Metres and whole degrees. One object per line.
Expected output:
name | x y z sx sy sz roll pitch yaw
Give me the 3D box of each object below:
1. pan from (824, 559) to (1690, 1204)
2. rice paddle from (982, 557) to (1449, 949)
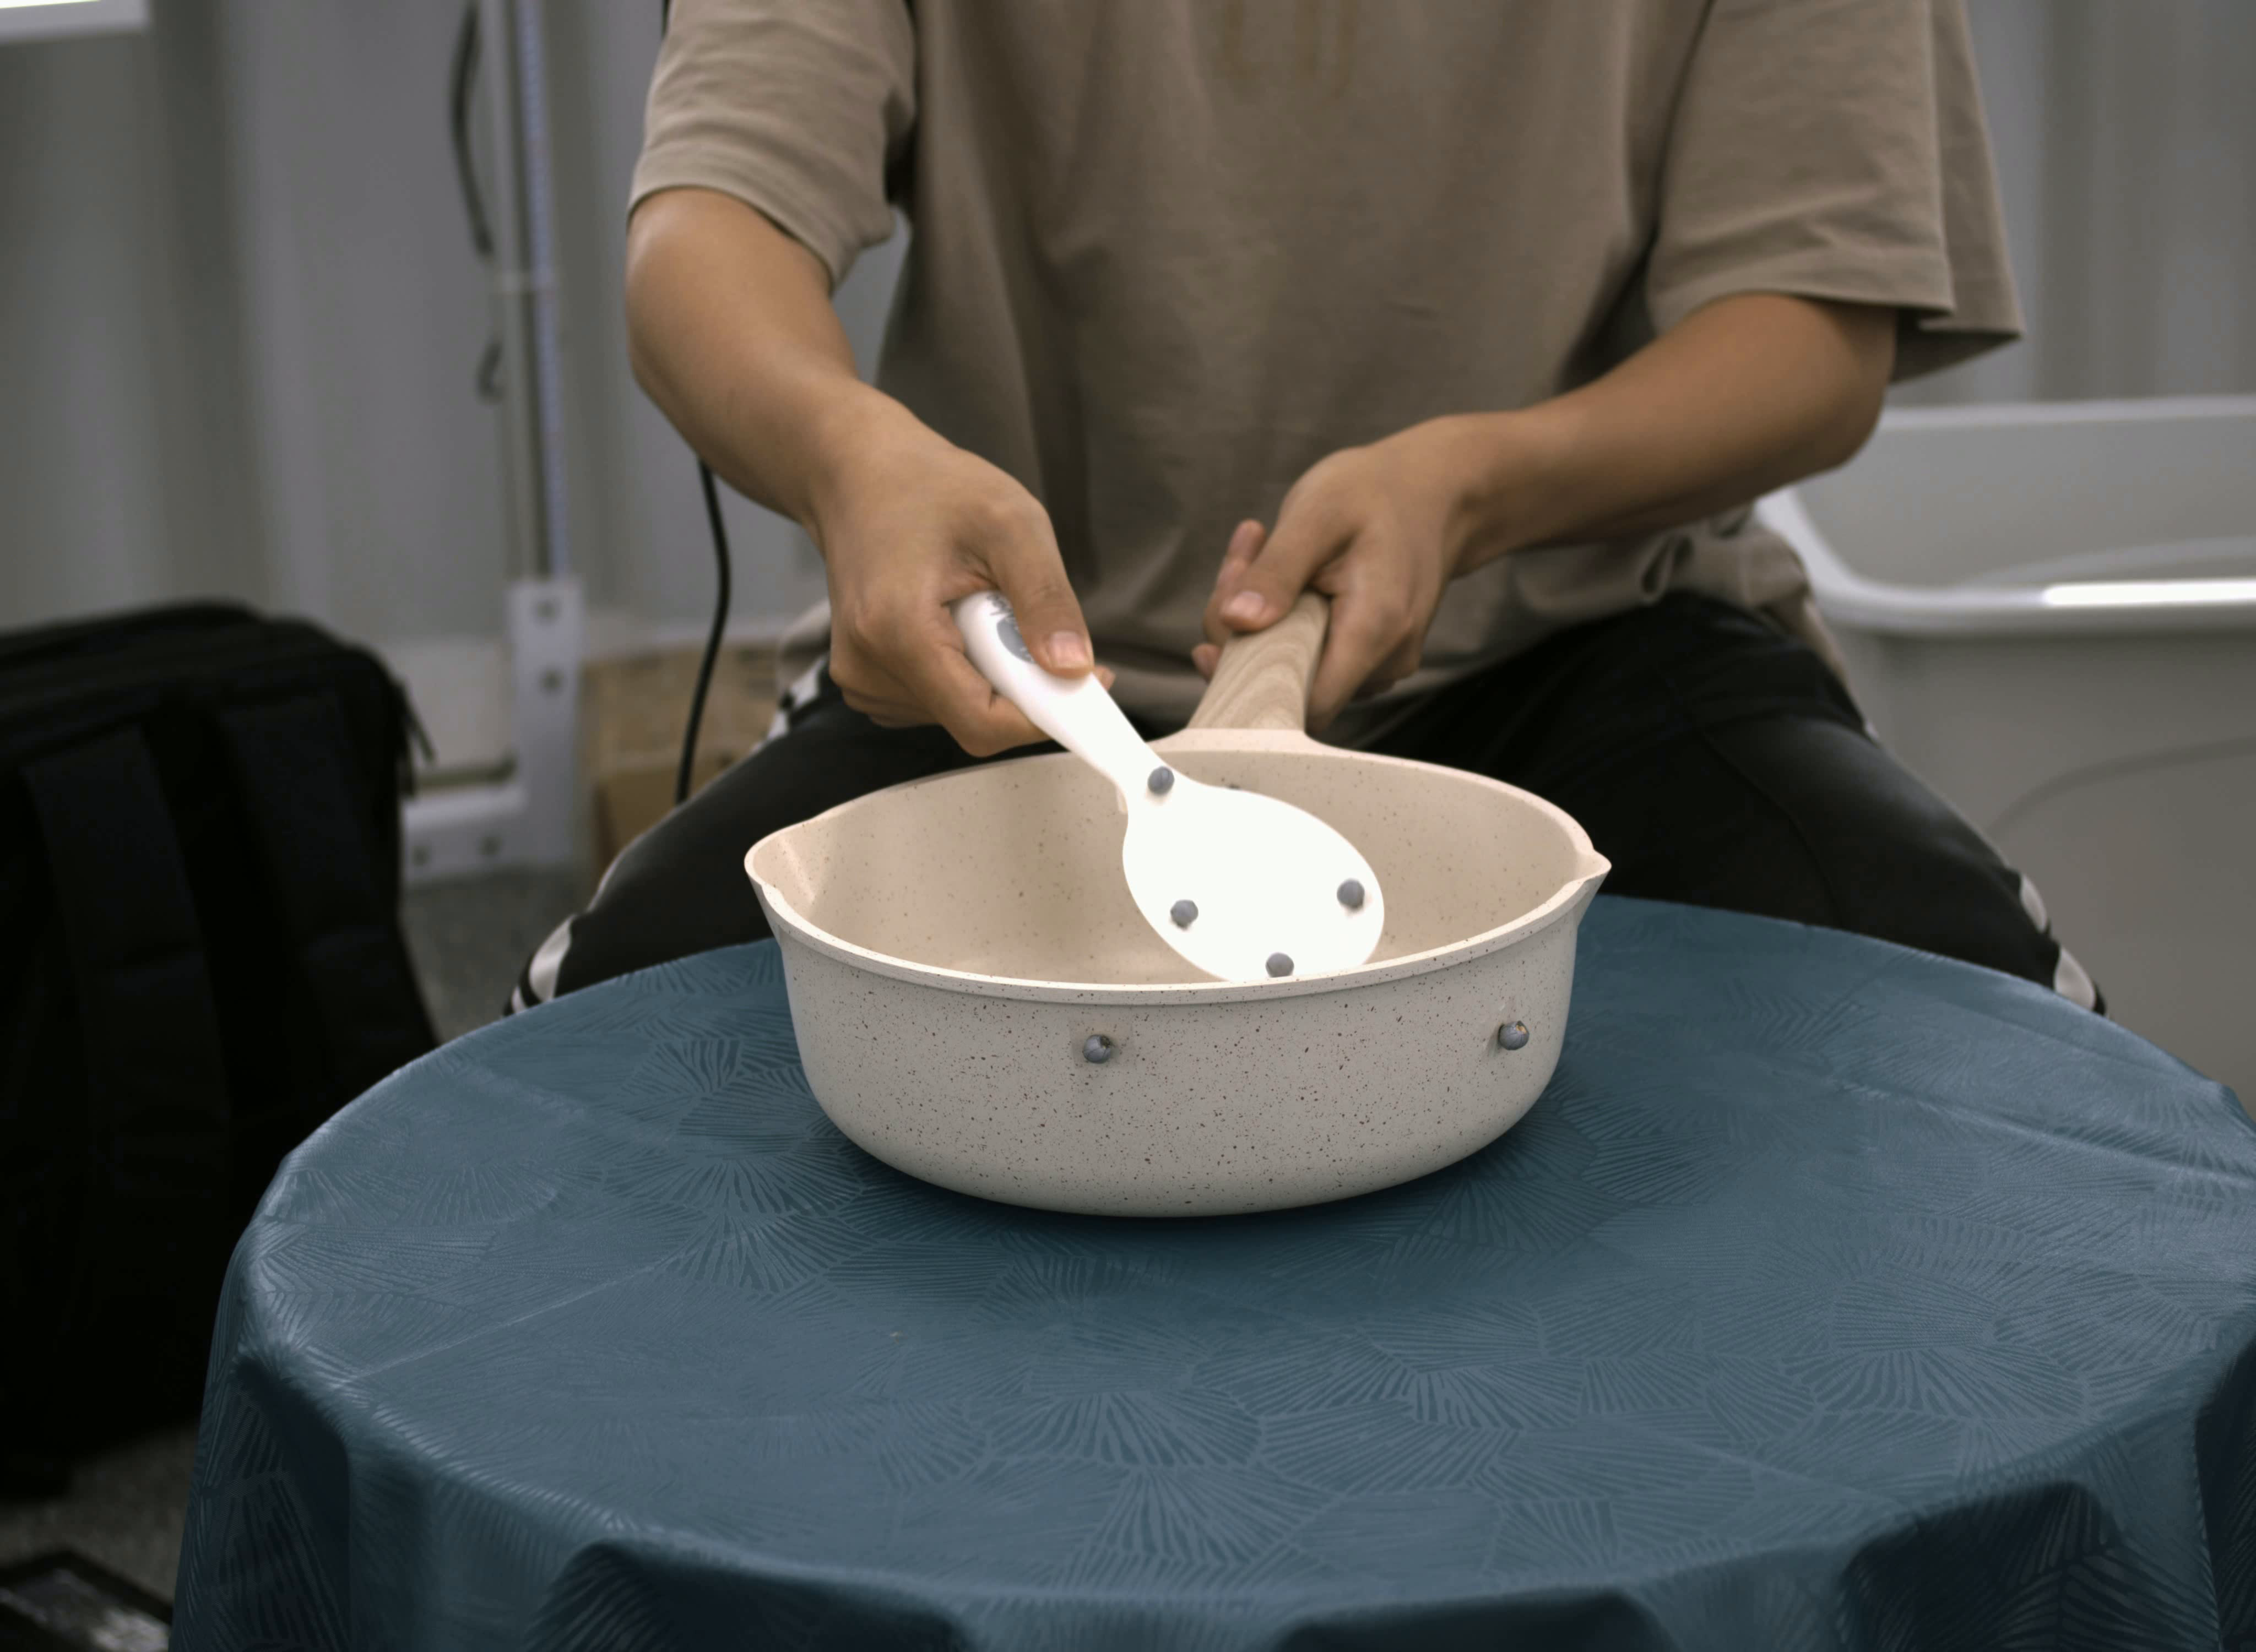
pan | 0.053 0.014 1.693 0.264 0.102 0.433 -1 16 10
rice paddle | 0.025 -0.017 1.629 0.068 0.029 0.210 -26 47 -23
